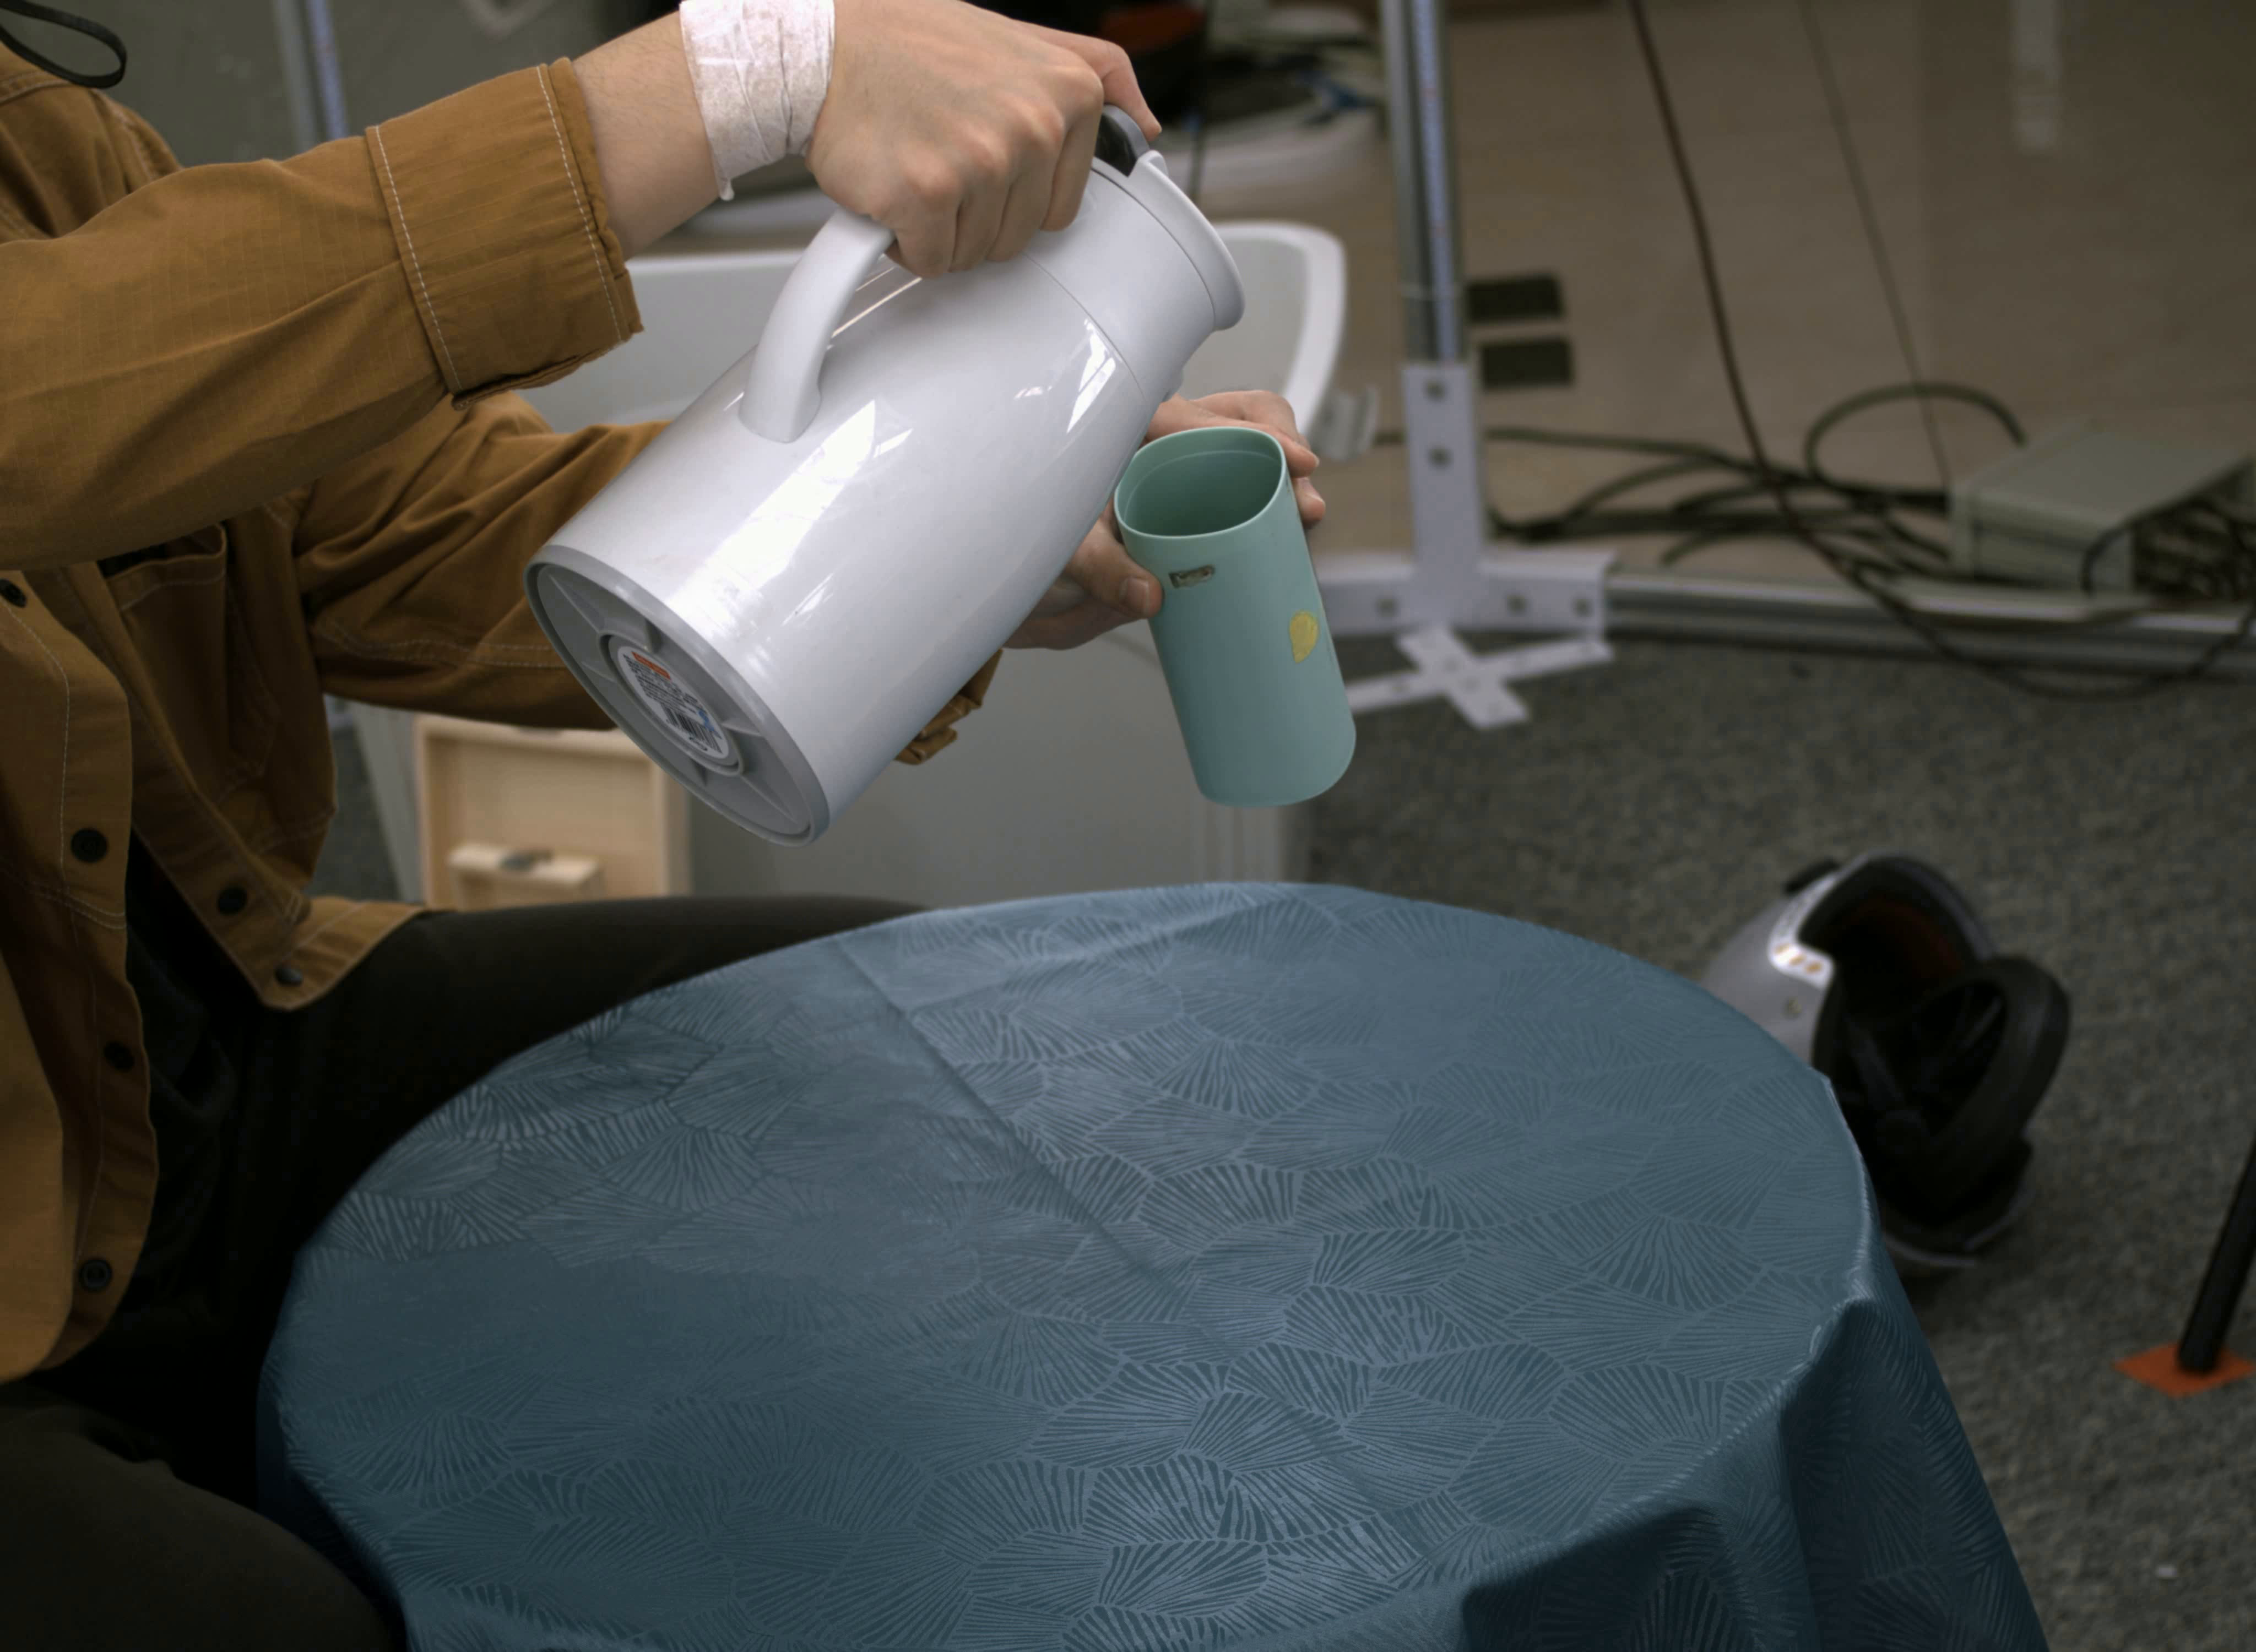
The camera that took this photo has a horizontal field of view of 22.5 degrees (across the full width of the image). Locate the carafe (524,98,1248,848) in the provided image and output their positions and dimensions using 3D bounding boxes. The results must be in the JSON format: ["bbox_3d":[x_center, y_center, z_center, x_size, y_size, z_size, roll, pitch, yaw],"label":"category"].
[{"bbox_3d":[-0.074,-0.135,1.883,0.131,0.170,0.247,34,72,33],"label":"carafe"}]

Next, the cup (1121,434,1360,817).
[{"bbox_3d":[0.040,-0.072,2.050,0.066,0.135,0.065,-9,41,8],"label":"cup"}]
